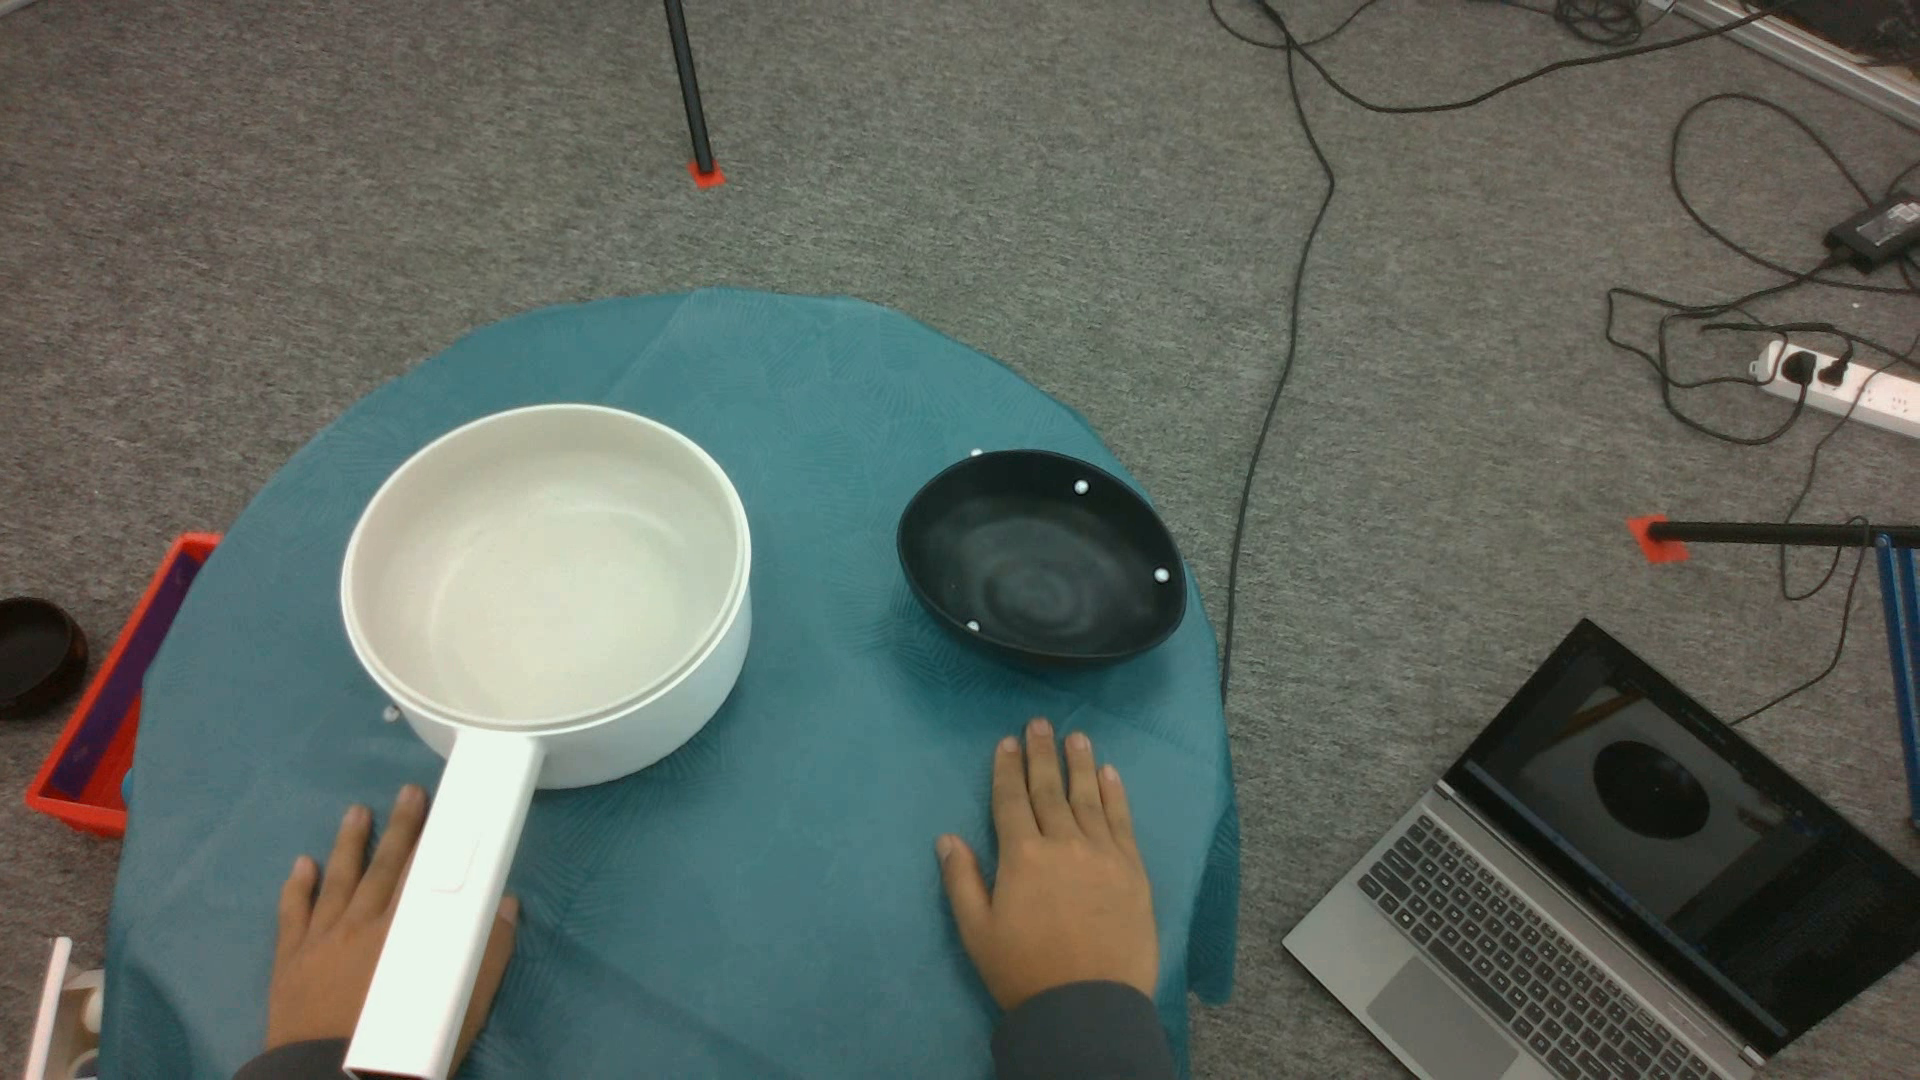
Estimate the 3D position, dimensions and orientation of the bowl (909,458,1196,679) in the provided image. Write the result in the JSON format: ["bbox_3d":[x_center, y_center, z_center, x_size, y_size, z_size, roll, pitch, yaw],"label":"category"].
[{"bbox_3d":[0.053,0.026,0.808,0.170,0.066,0.138,15,56,6],"label":"bowl"}]

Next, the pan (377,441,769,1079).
[{"bbox_3d":[-0.210,0.117,0.721,0.201,0.101,0.356,5,57,-1],"label":"pan"}]
